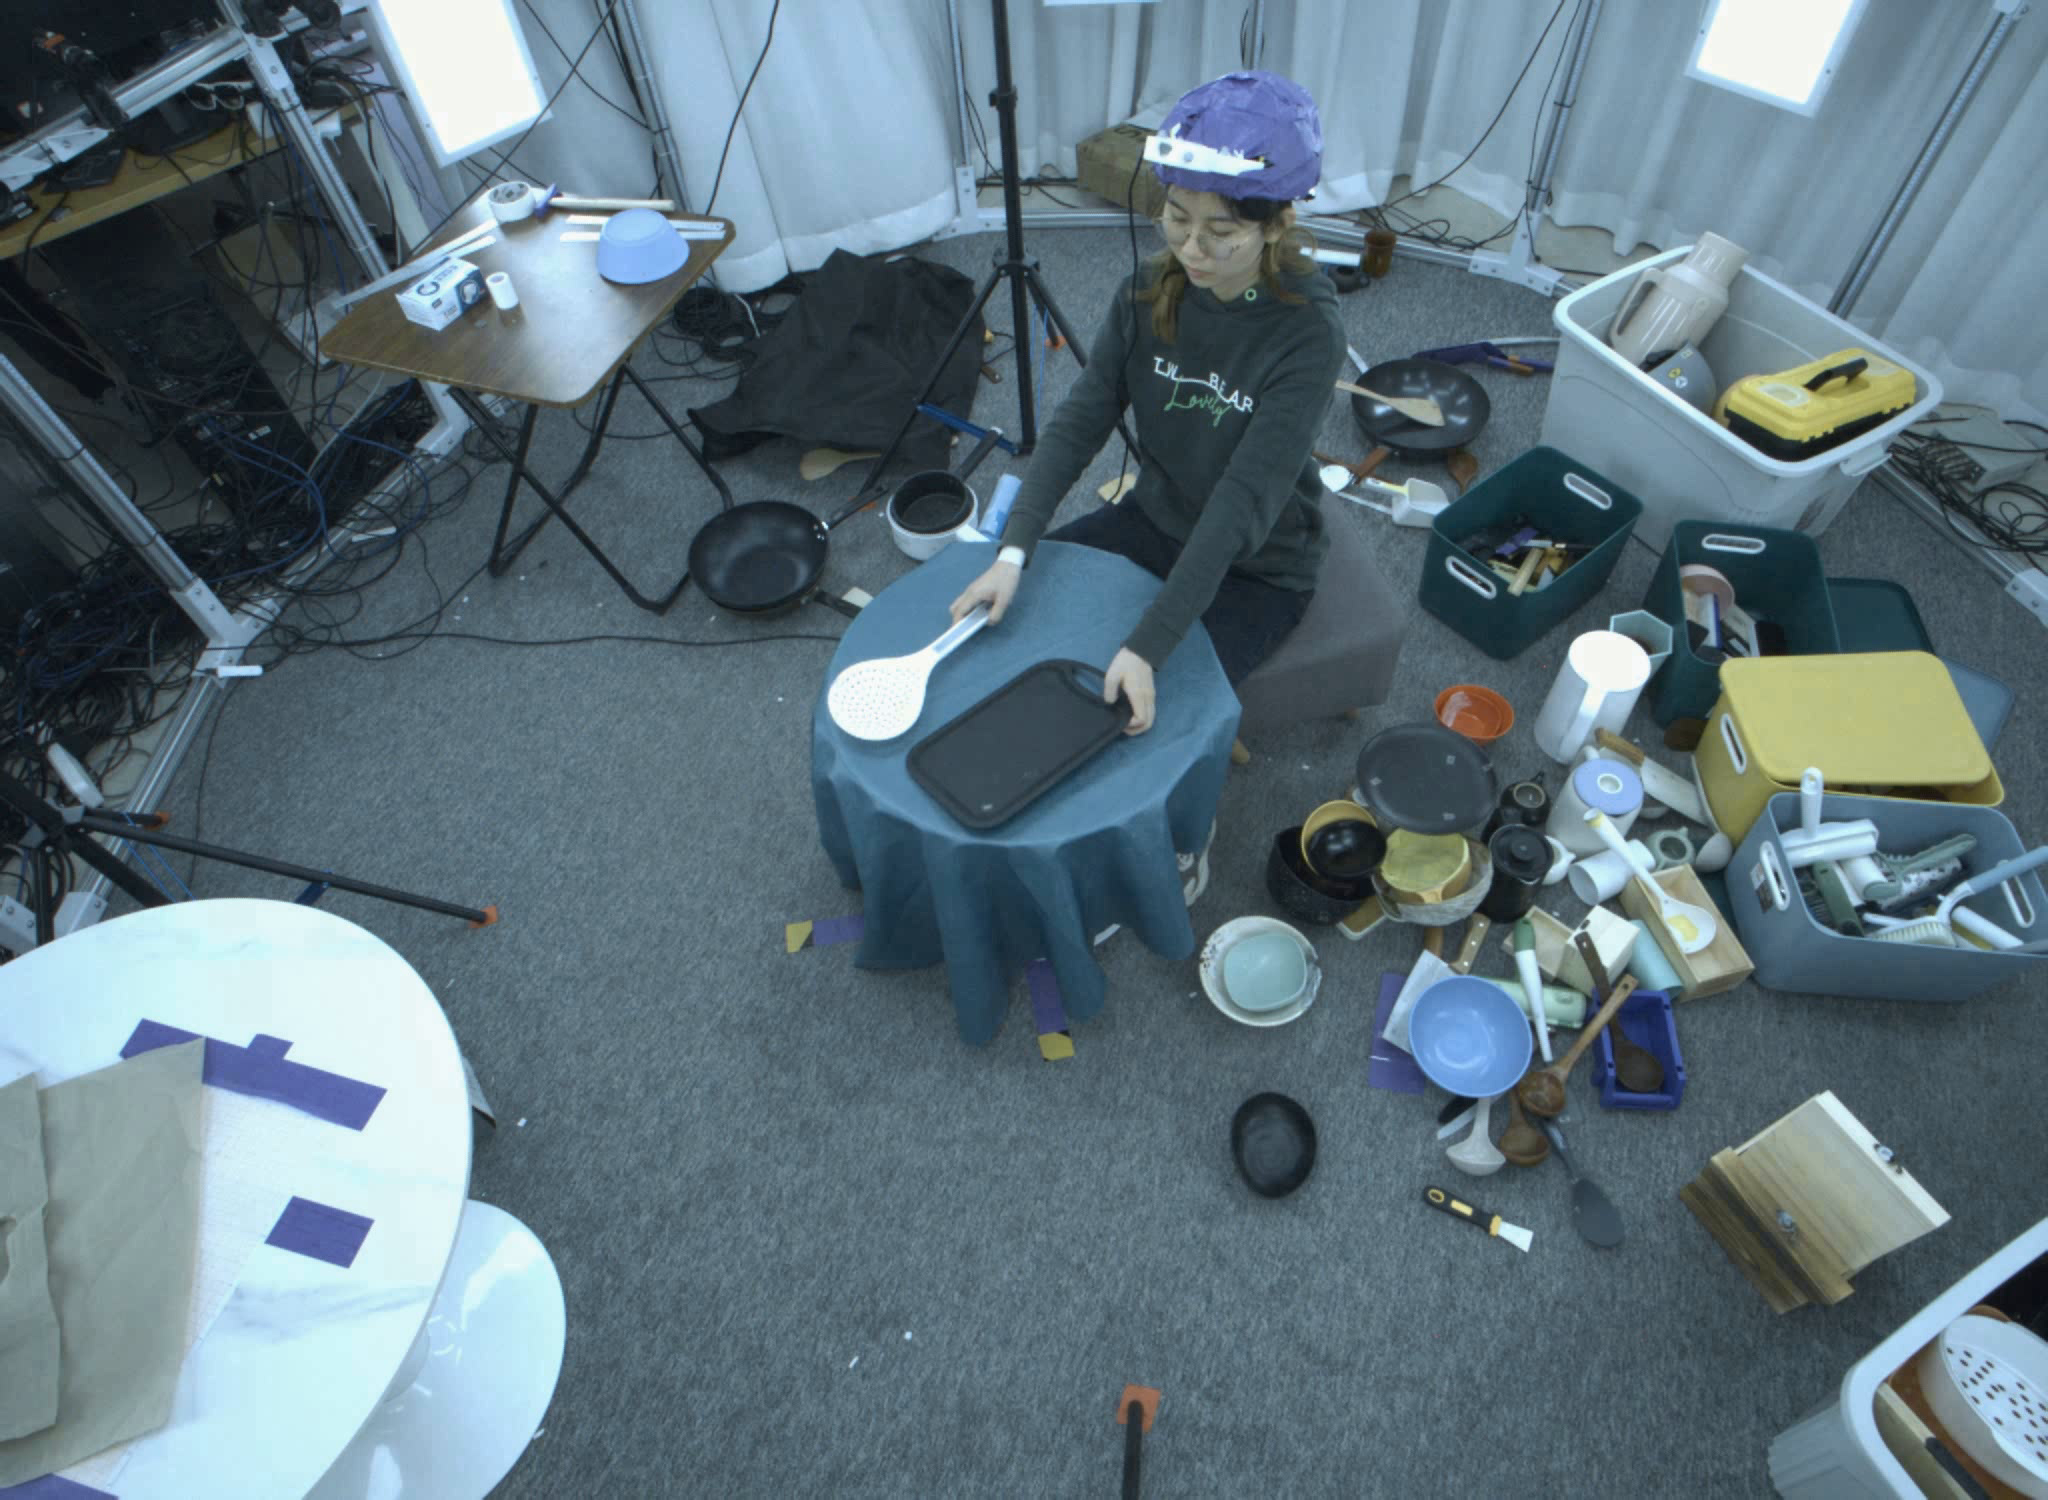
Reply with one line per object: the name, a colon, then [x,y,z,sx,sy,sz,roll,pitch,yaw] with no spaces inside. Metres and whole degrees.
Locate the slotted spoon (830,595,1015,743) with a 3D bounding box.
slotted spoon: [-0.143,-0.132,1.856,0.134,0.046,0.352,42,69,15]

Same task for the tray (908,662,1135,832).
tray: [0.002,-0.017,1.786,0.328,0.010,0.206,-35,53,-20]
